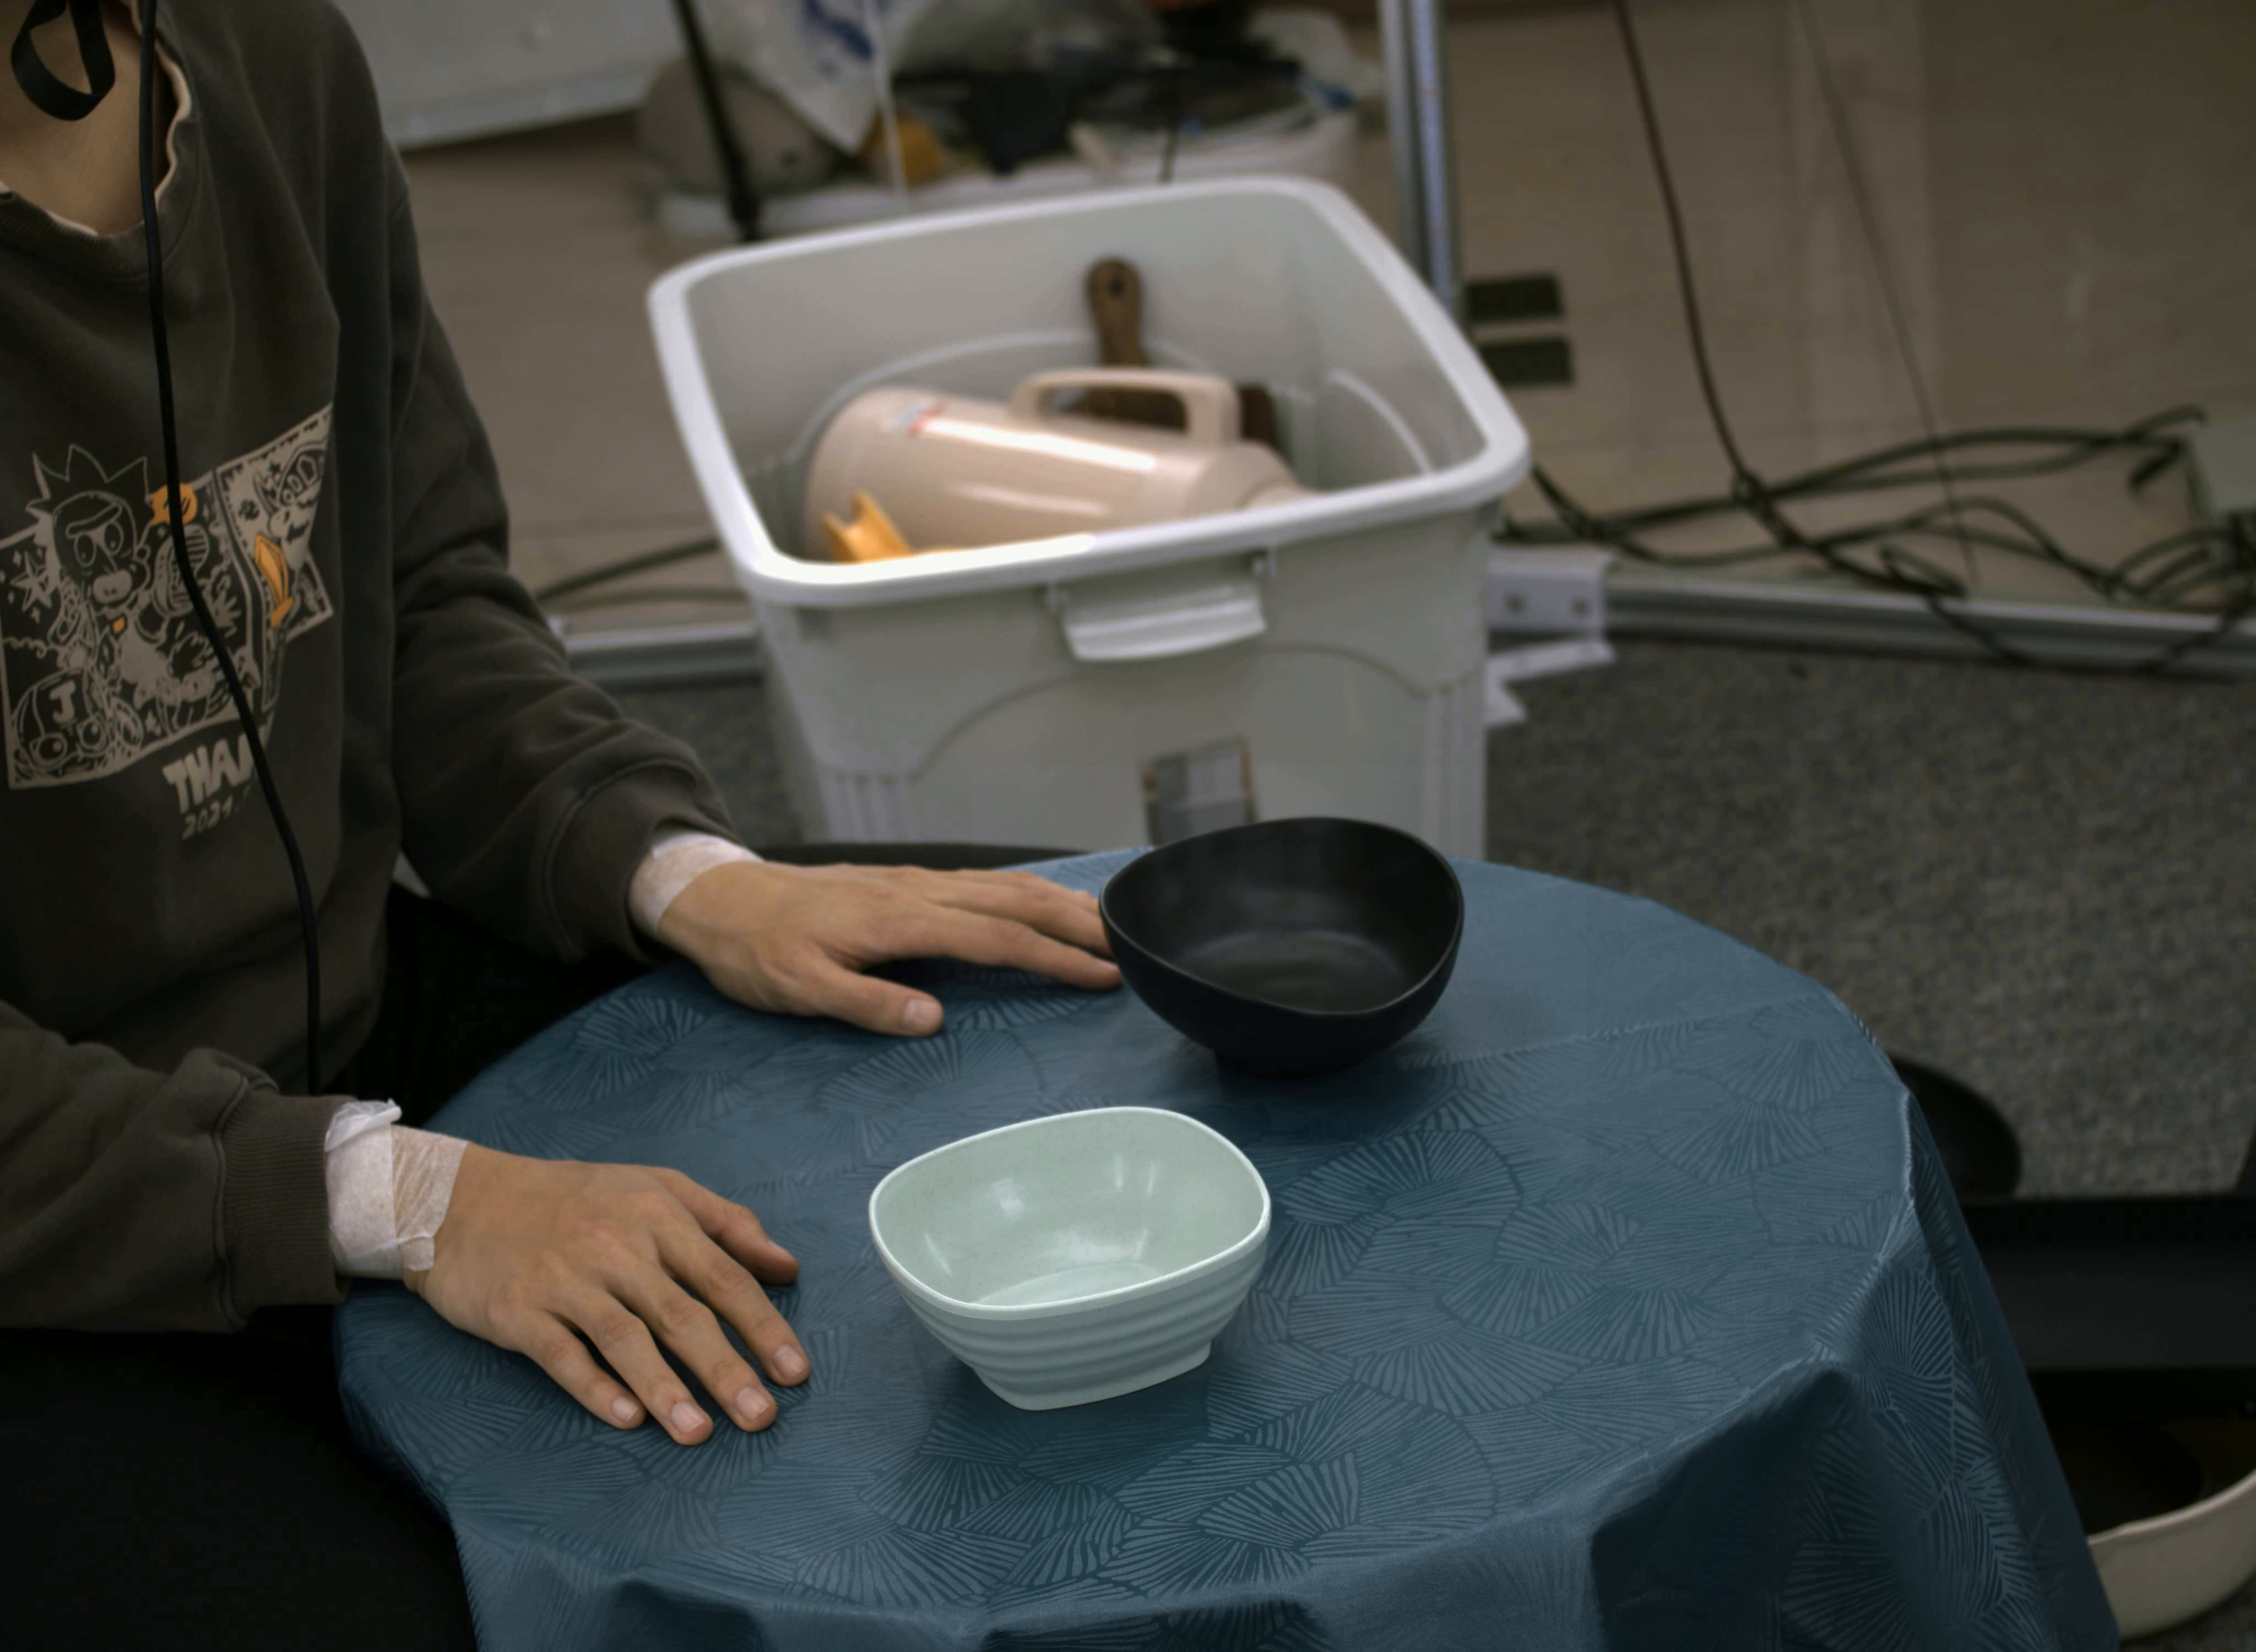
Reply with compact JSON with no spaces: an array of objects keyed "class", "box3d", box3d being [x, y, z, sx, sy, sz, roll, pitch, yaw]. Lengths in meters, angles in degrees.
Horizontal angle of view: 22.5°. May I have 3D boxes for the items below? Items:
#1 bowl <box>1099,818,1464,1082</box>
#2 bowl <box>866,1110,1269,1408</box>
[{"class":"bowl","box3d":[0.064,0.056,2.233,0.137,0.068,0.168,-17,29,-21]},{"class":"bowl","box3d":[-0.020,0.161,2.036,0.151,0.059,0.149,-3,25,2]}]
